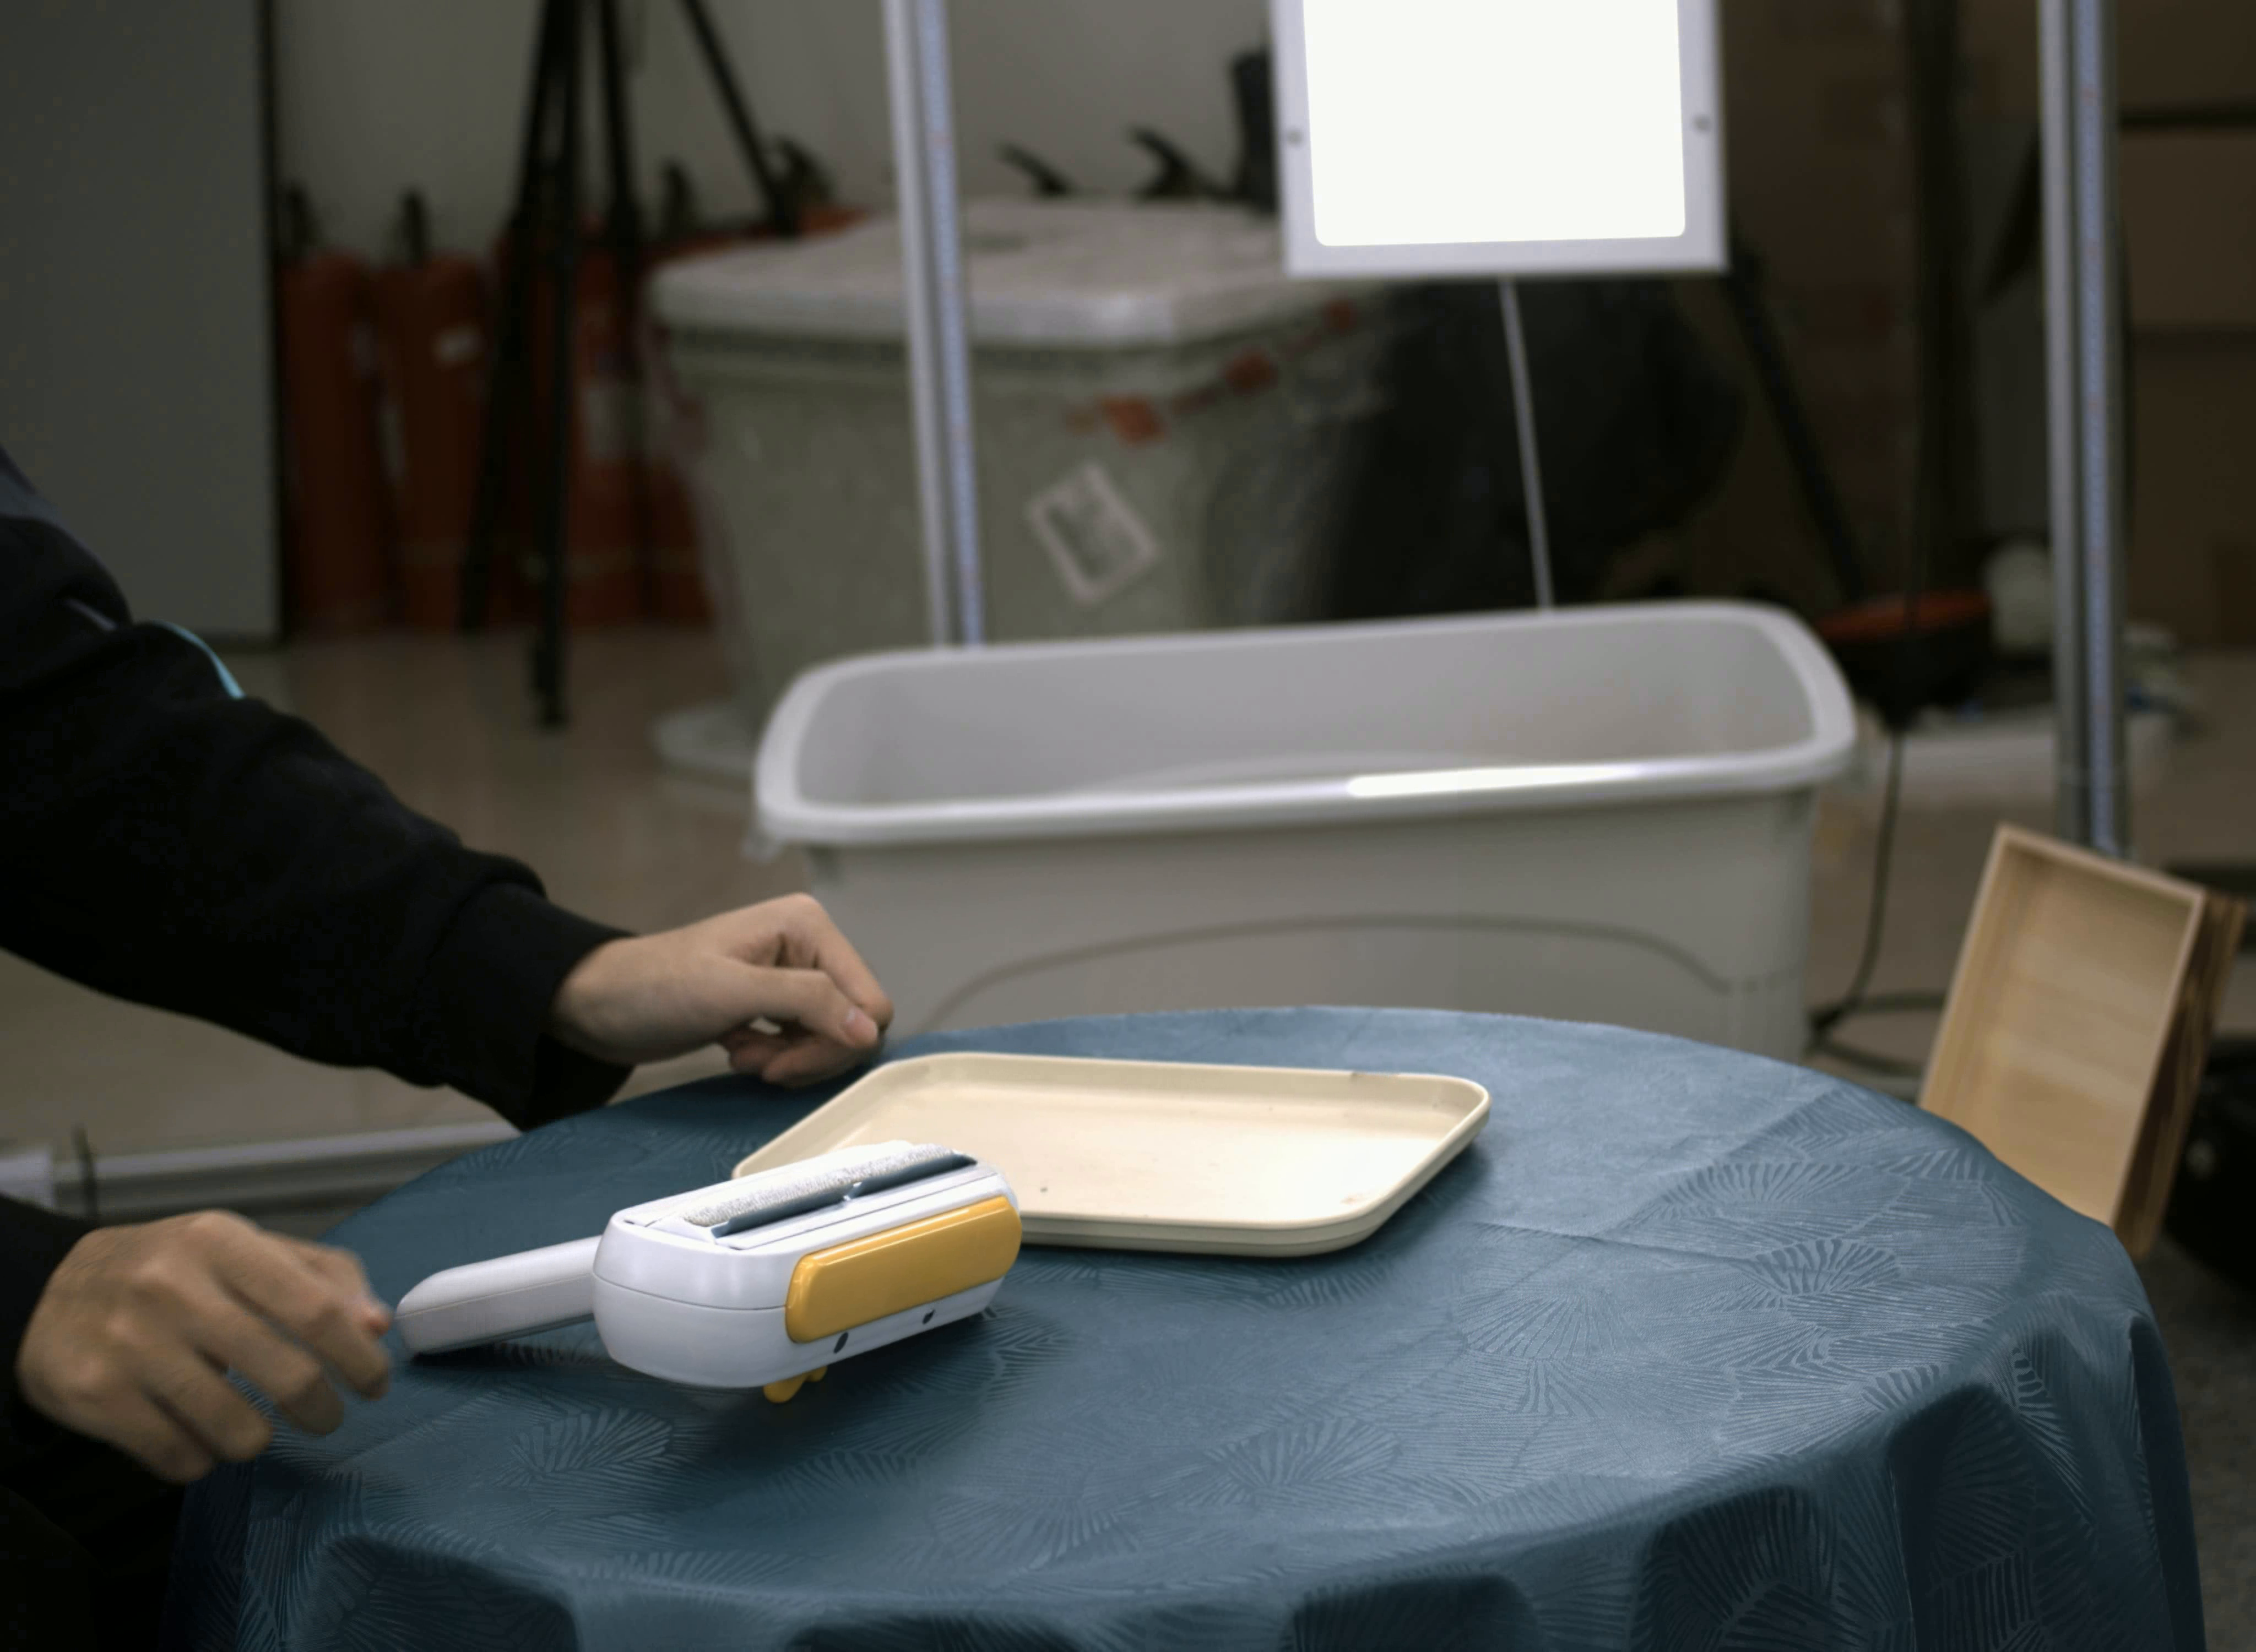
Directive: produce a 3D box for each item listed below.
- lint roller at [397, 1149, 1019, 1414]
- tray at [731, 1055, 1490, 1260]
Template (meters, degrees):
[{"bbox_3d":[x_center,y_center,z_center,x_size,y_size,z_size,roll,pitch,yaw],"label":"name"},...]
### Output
[{"bbox_3d":[-0.152,0.142,1.746,0.196,0.074,0.188,1,10,32],"label":"lint roller"},{"bbox_3d":[-0.004,0.115,1.909,0.243,0.017,0.168,1,16,25],"label":"tray"}]
